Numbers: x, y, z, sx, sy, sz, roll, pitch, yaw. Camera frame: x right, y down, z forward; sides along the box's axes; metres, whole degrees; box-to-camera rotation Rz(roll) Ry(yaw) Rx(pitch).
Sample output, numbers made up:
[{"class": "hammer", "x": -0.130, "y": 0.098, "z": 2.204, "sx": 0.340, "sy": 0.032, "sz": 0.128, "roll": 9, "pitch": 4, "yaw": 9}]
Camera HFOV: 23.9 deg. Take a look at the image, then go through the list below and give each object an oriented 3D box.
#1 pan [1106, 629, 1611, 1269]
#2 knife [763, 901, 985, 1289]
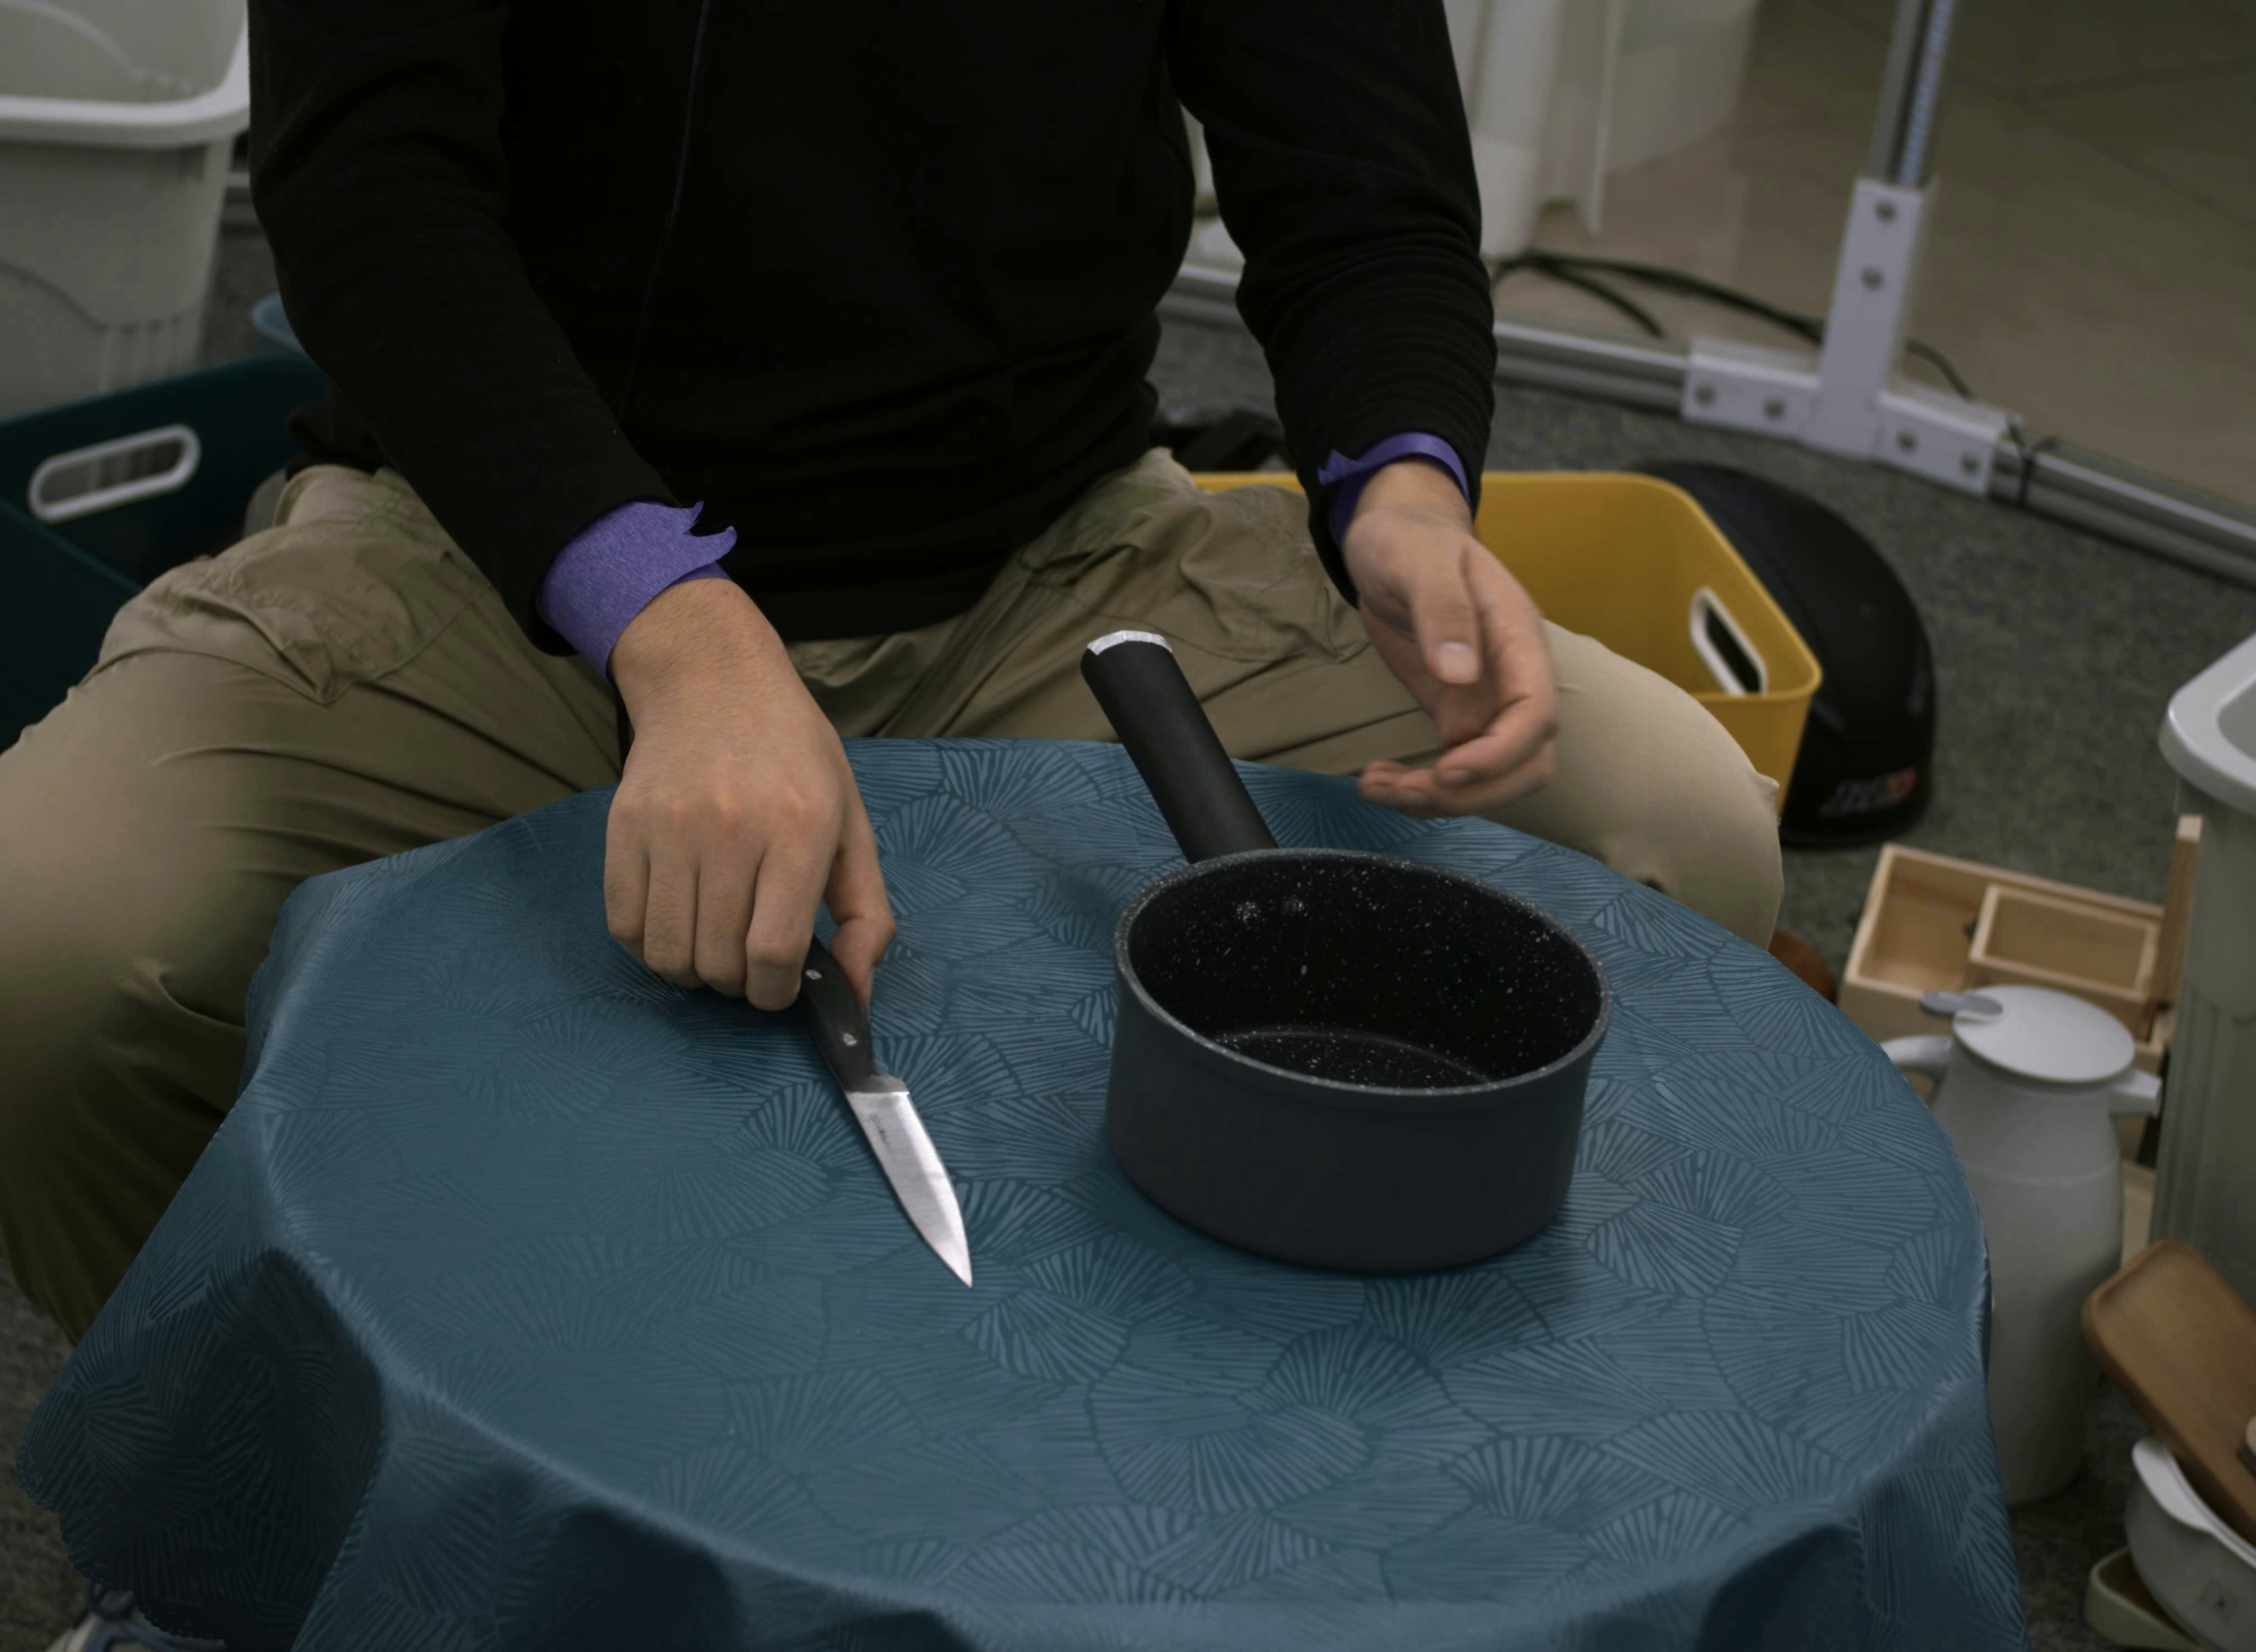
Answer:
[{"class": "pan", "x": 0.052, "y": 0.040, "z": 1.889, "sx": 0.171, "sy": 0.086, "sz": 0.331, "roll": -2, "pitch": 29, "yaw": -17}, {"class": "knife", "x": -0.089, "y": 0.092, "z": 1.836, "sx": 0.024, "sy": 0.016, "sz": 0.240, "roll": -4, "pitch": 31, "yaw": -19}]
